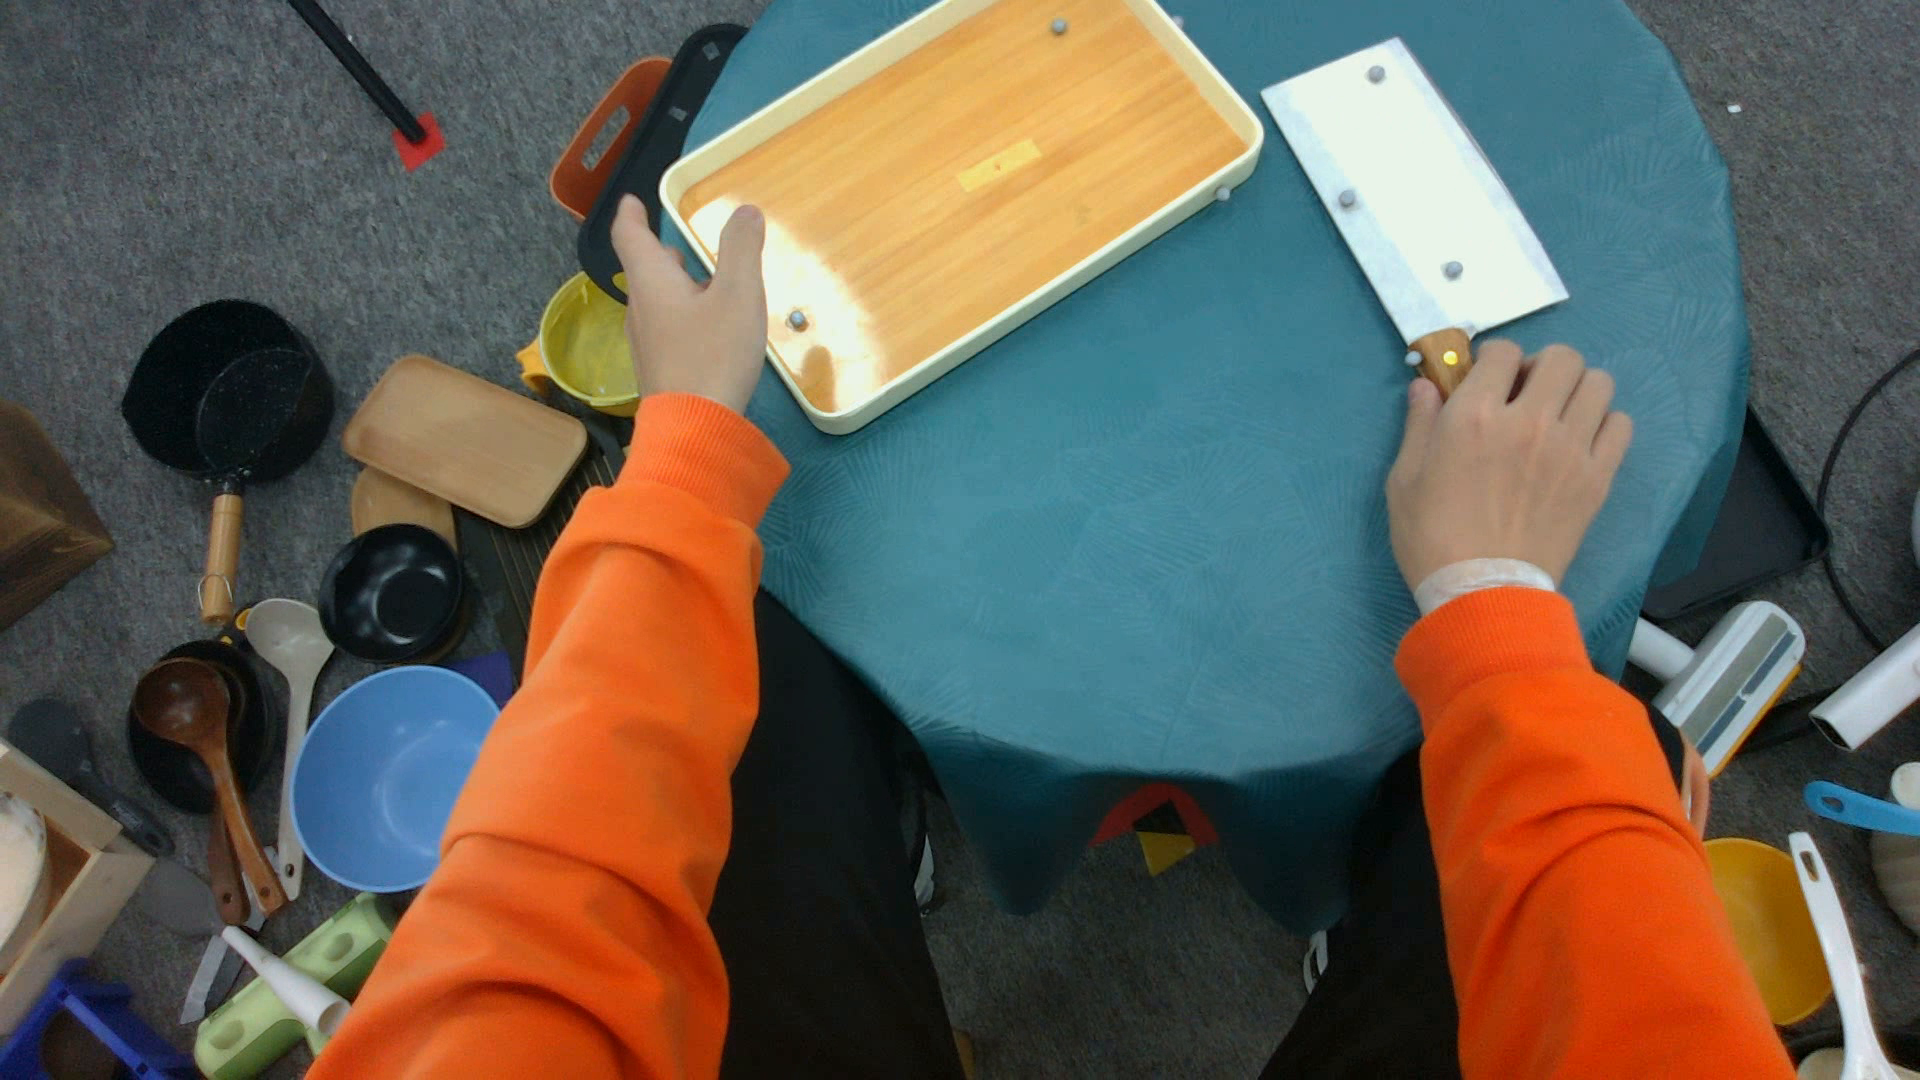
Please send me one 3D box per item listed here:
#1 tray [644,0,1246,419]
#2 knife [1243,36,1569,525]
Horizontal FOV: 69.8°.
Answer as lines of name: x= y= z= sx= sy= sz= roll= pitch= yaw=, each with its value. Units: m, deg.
tray: x=-0.010 y=-0.217 z=0.782 sx=0.300 sy=0.027 sz=0.192 roll=-33 pitch=73 yaw=-6
knife: x=0.258 y=-0.153 z=0.745 sx=0.093 sy=0.021 sz=0.306 roll=-22 pitch=69 yaw=-3
